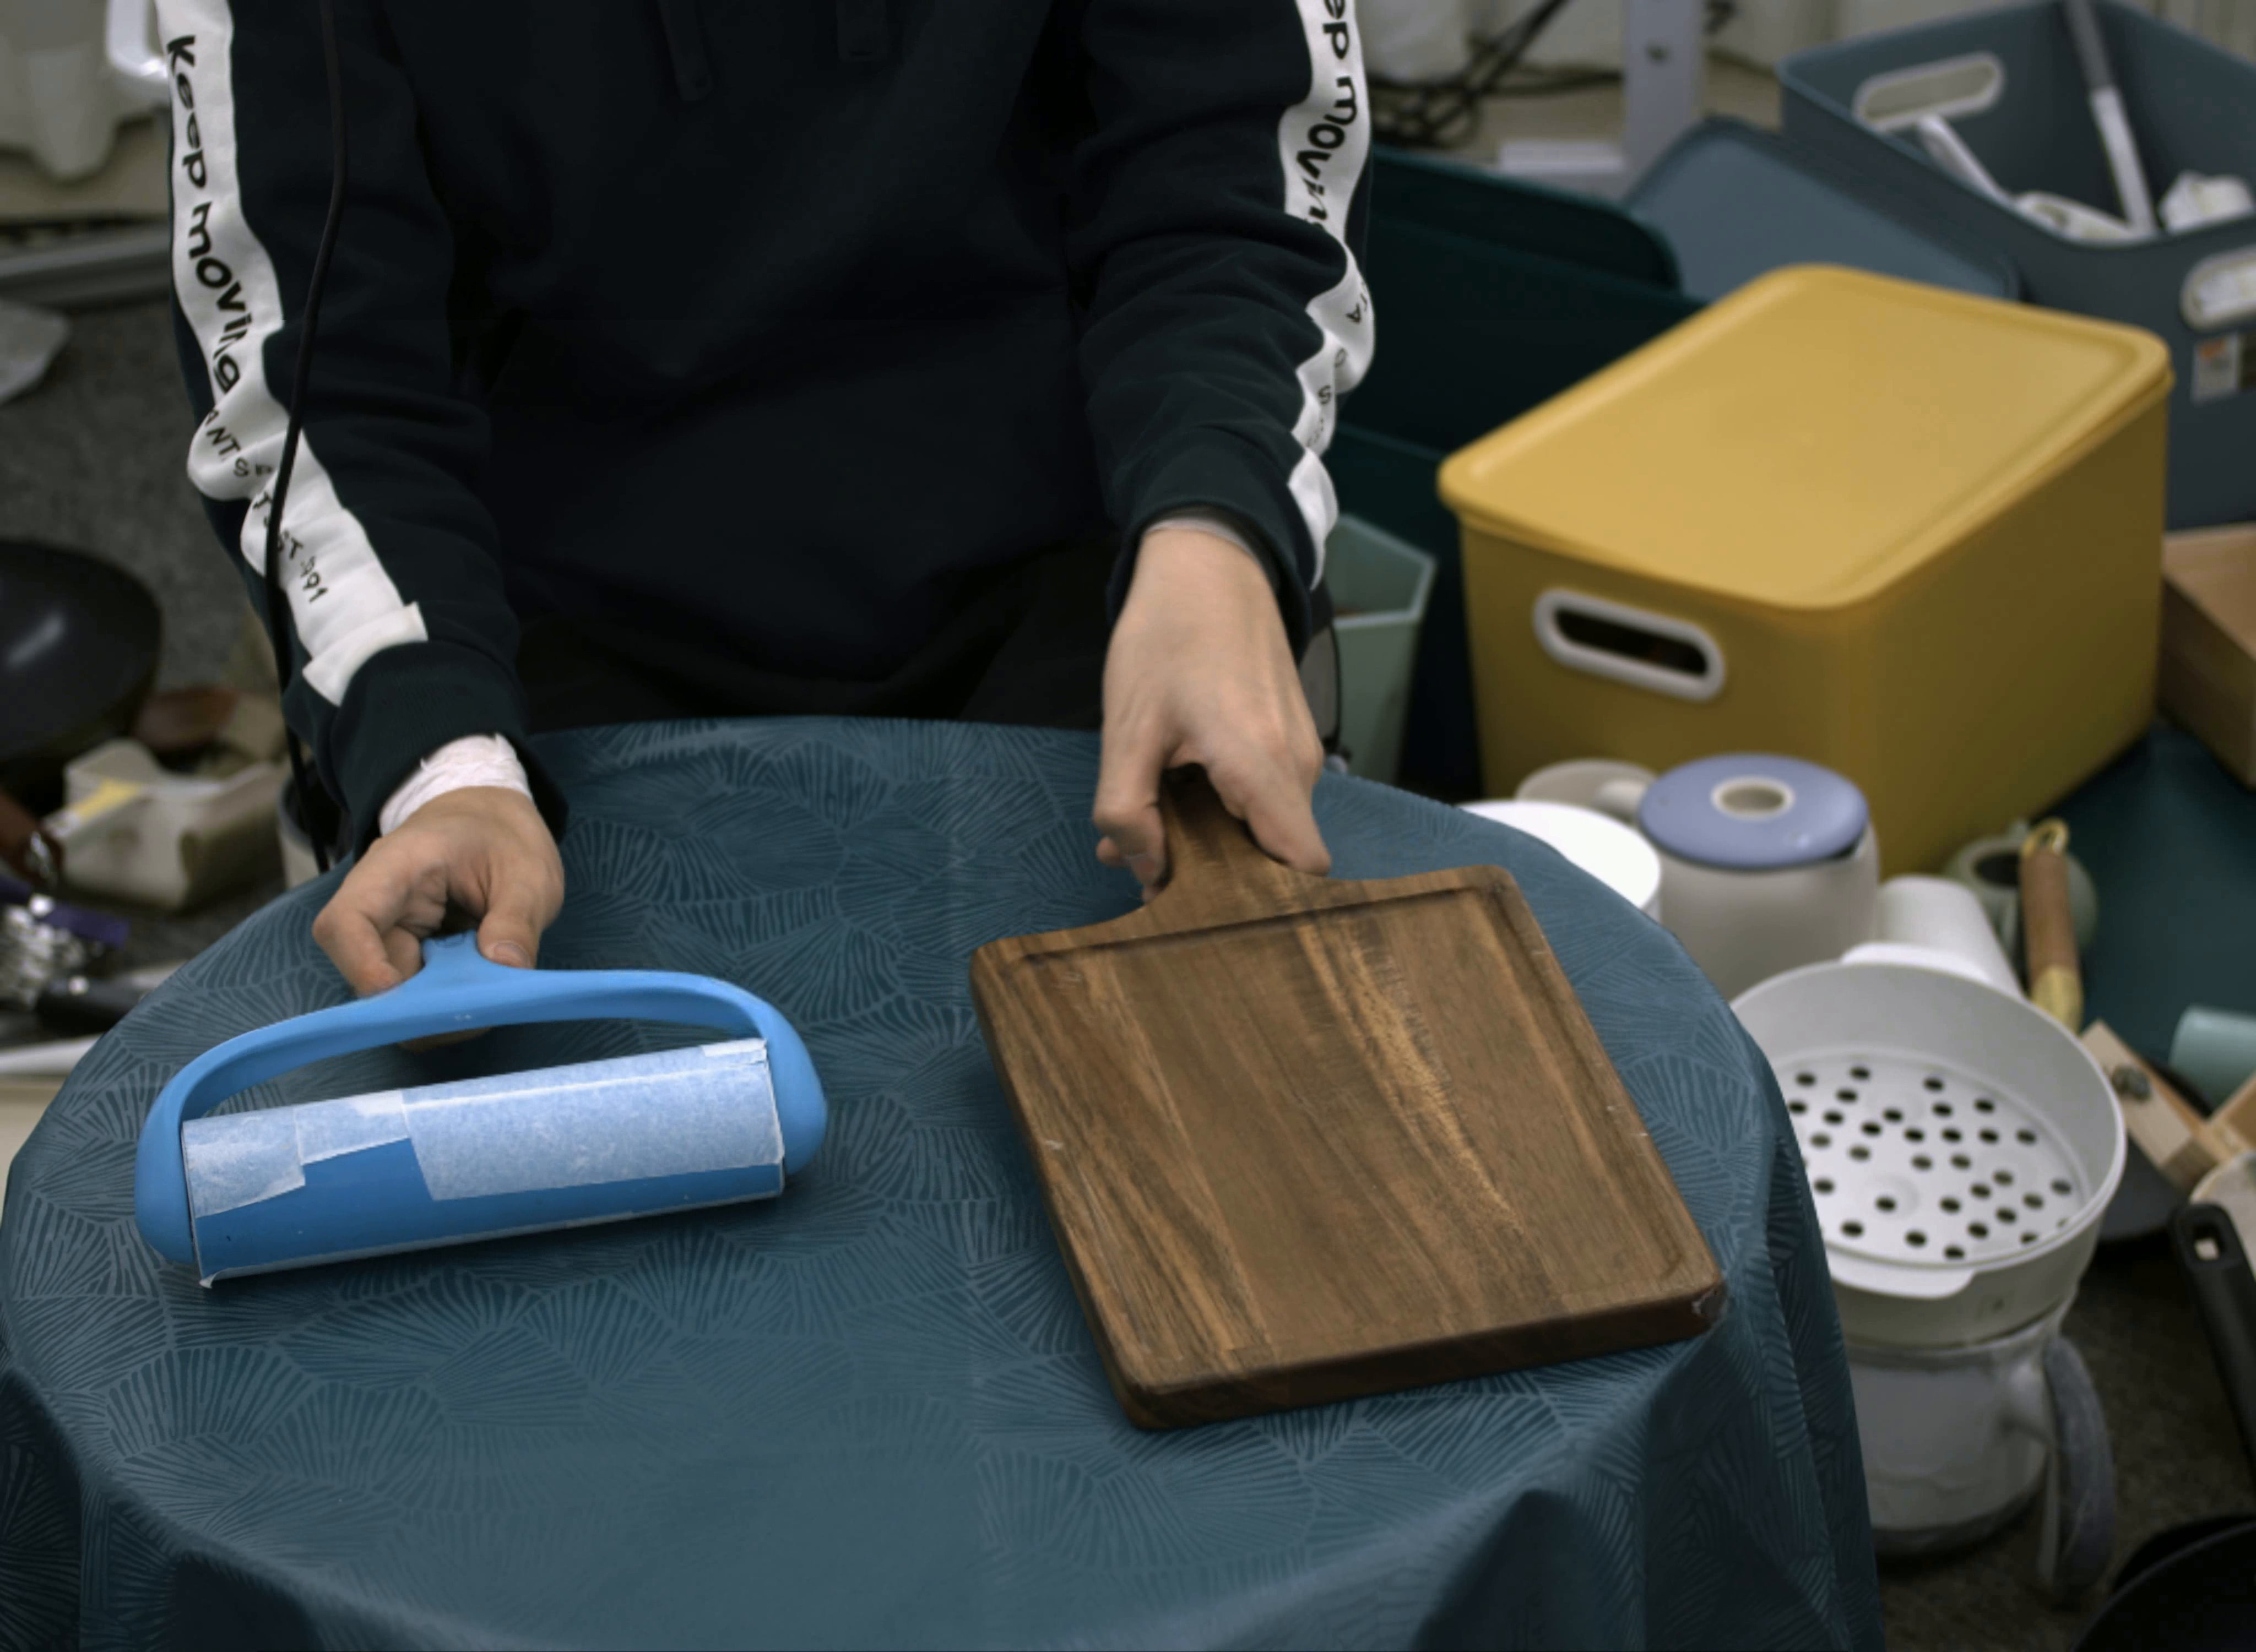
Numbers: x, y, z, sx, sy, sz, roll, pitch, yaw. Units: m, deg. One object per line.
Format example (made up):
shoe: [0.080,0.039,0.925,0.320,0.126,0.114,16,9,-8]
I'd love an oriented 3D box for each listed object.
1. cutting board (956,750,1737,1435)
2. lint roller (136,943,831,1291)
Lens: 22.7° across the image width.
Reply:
cutting board: [0.054,0.074,1.887,0.201,0.023,0.357,-8,34,-12]
lint roller: [-0.225,0.079,1.892,0.229,0.067,0.182,-10,34,-11]
